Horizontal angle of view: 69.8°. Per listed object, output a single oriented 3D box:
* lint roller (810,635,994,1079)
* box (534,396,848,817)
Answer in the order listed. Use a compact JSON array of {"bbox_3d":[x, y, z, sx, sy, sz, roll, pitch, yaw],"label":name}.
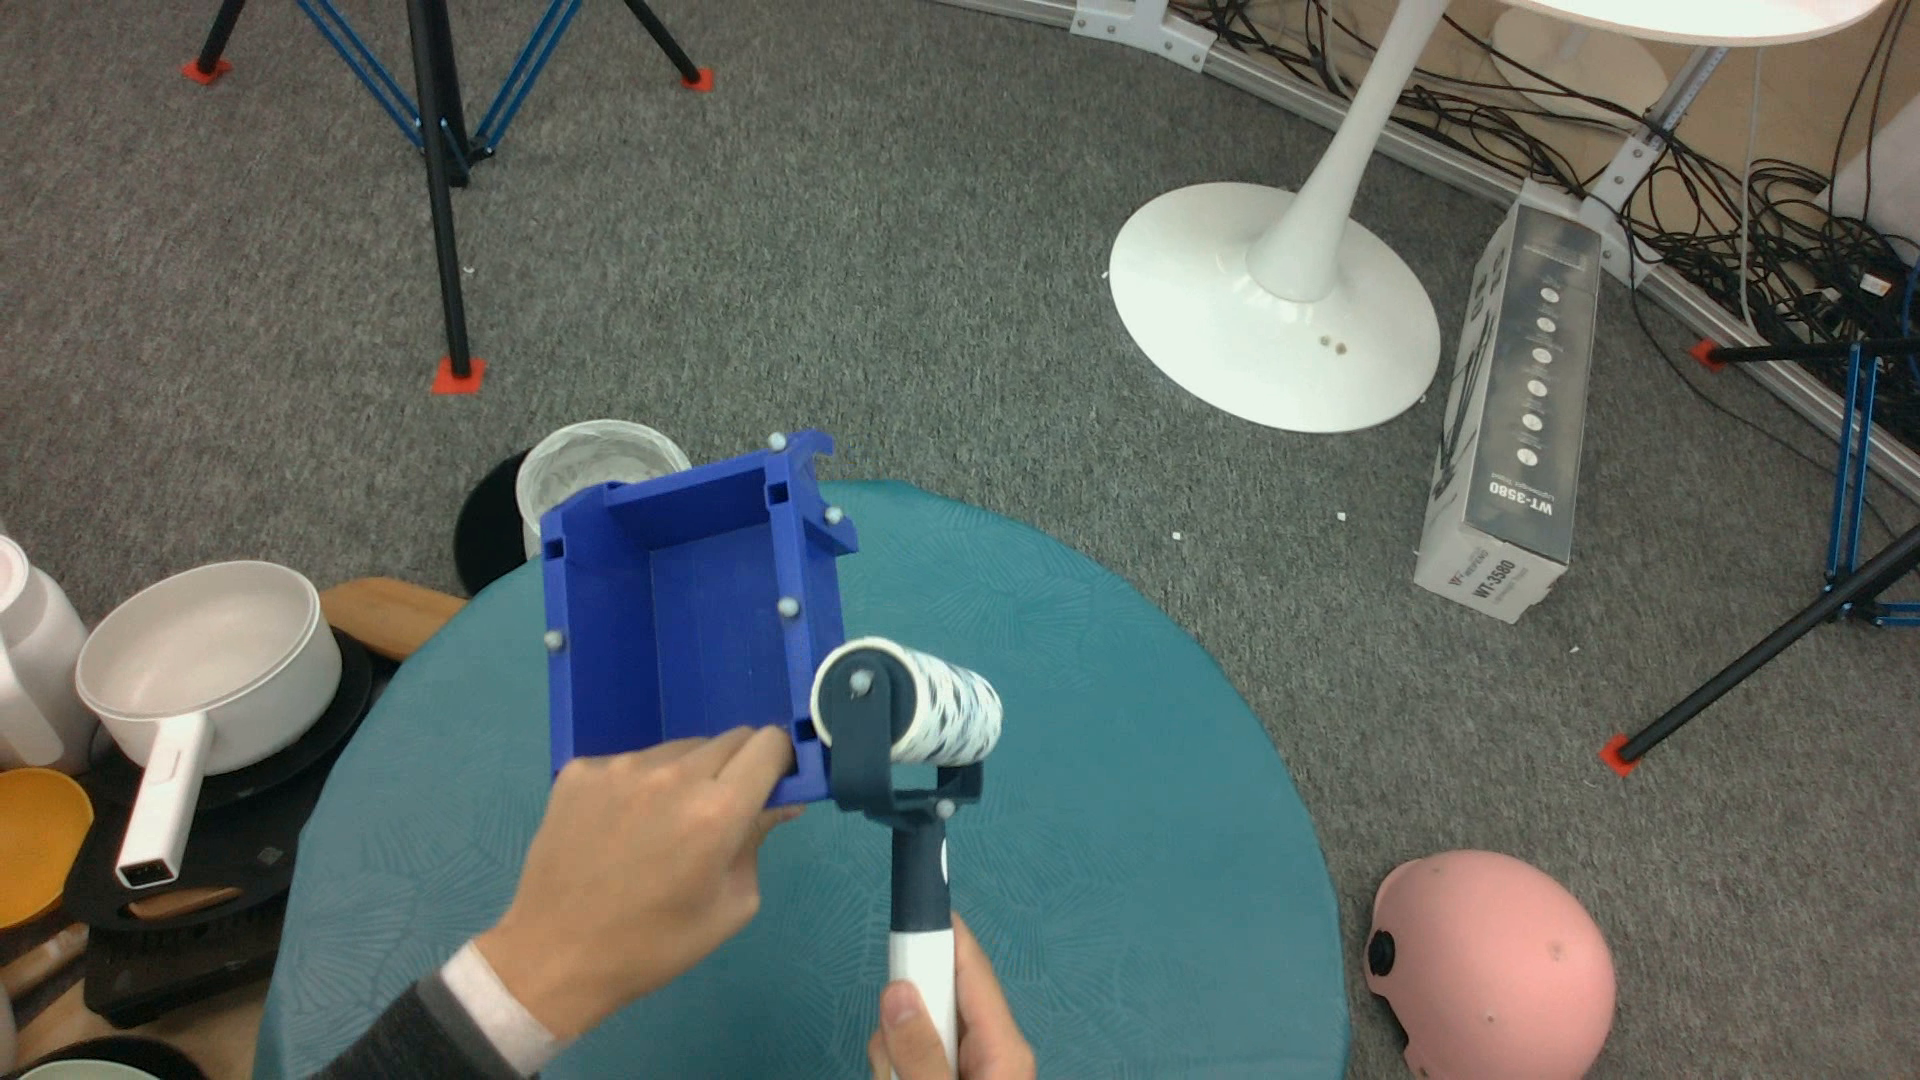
[{"bbox_3d":[-0.015,0.171,0.591,0.050,0.176,0.247,-6,79,10],"label":"lint roller"},{"bbox_3d":[-0.117,0.027,0.620,0.124,0.082,0.180,-12,73,13],"label":"box"}]
